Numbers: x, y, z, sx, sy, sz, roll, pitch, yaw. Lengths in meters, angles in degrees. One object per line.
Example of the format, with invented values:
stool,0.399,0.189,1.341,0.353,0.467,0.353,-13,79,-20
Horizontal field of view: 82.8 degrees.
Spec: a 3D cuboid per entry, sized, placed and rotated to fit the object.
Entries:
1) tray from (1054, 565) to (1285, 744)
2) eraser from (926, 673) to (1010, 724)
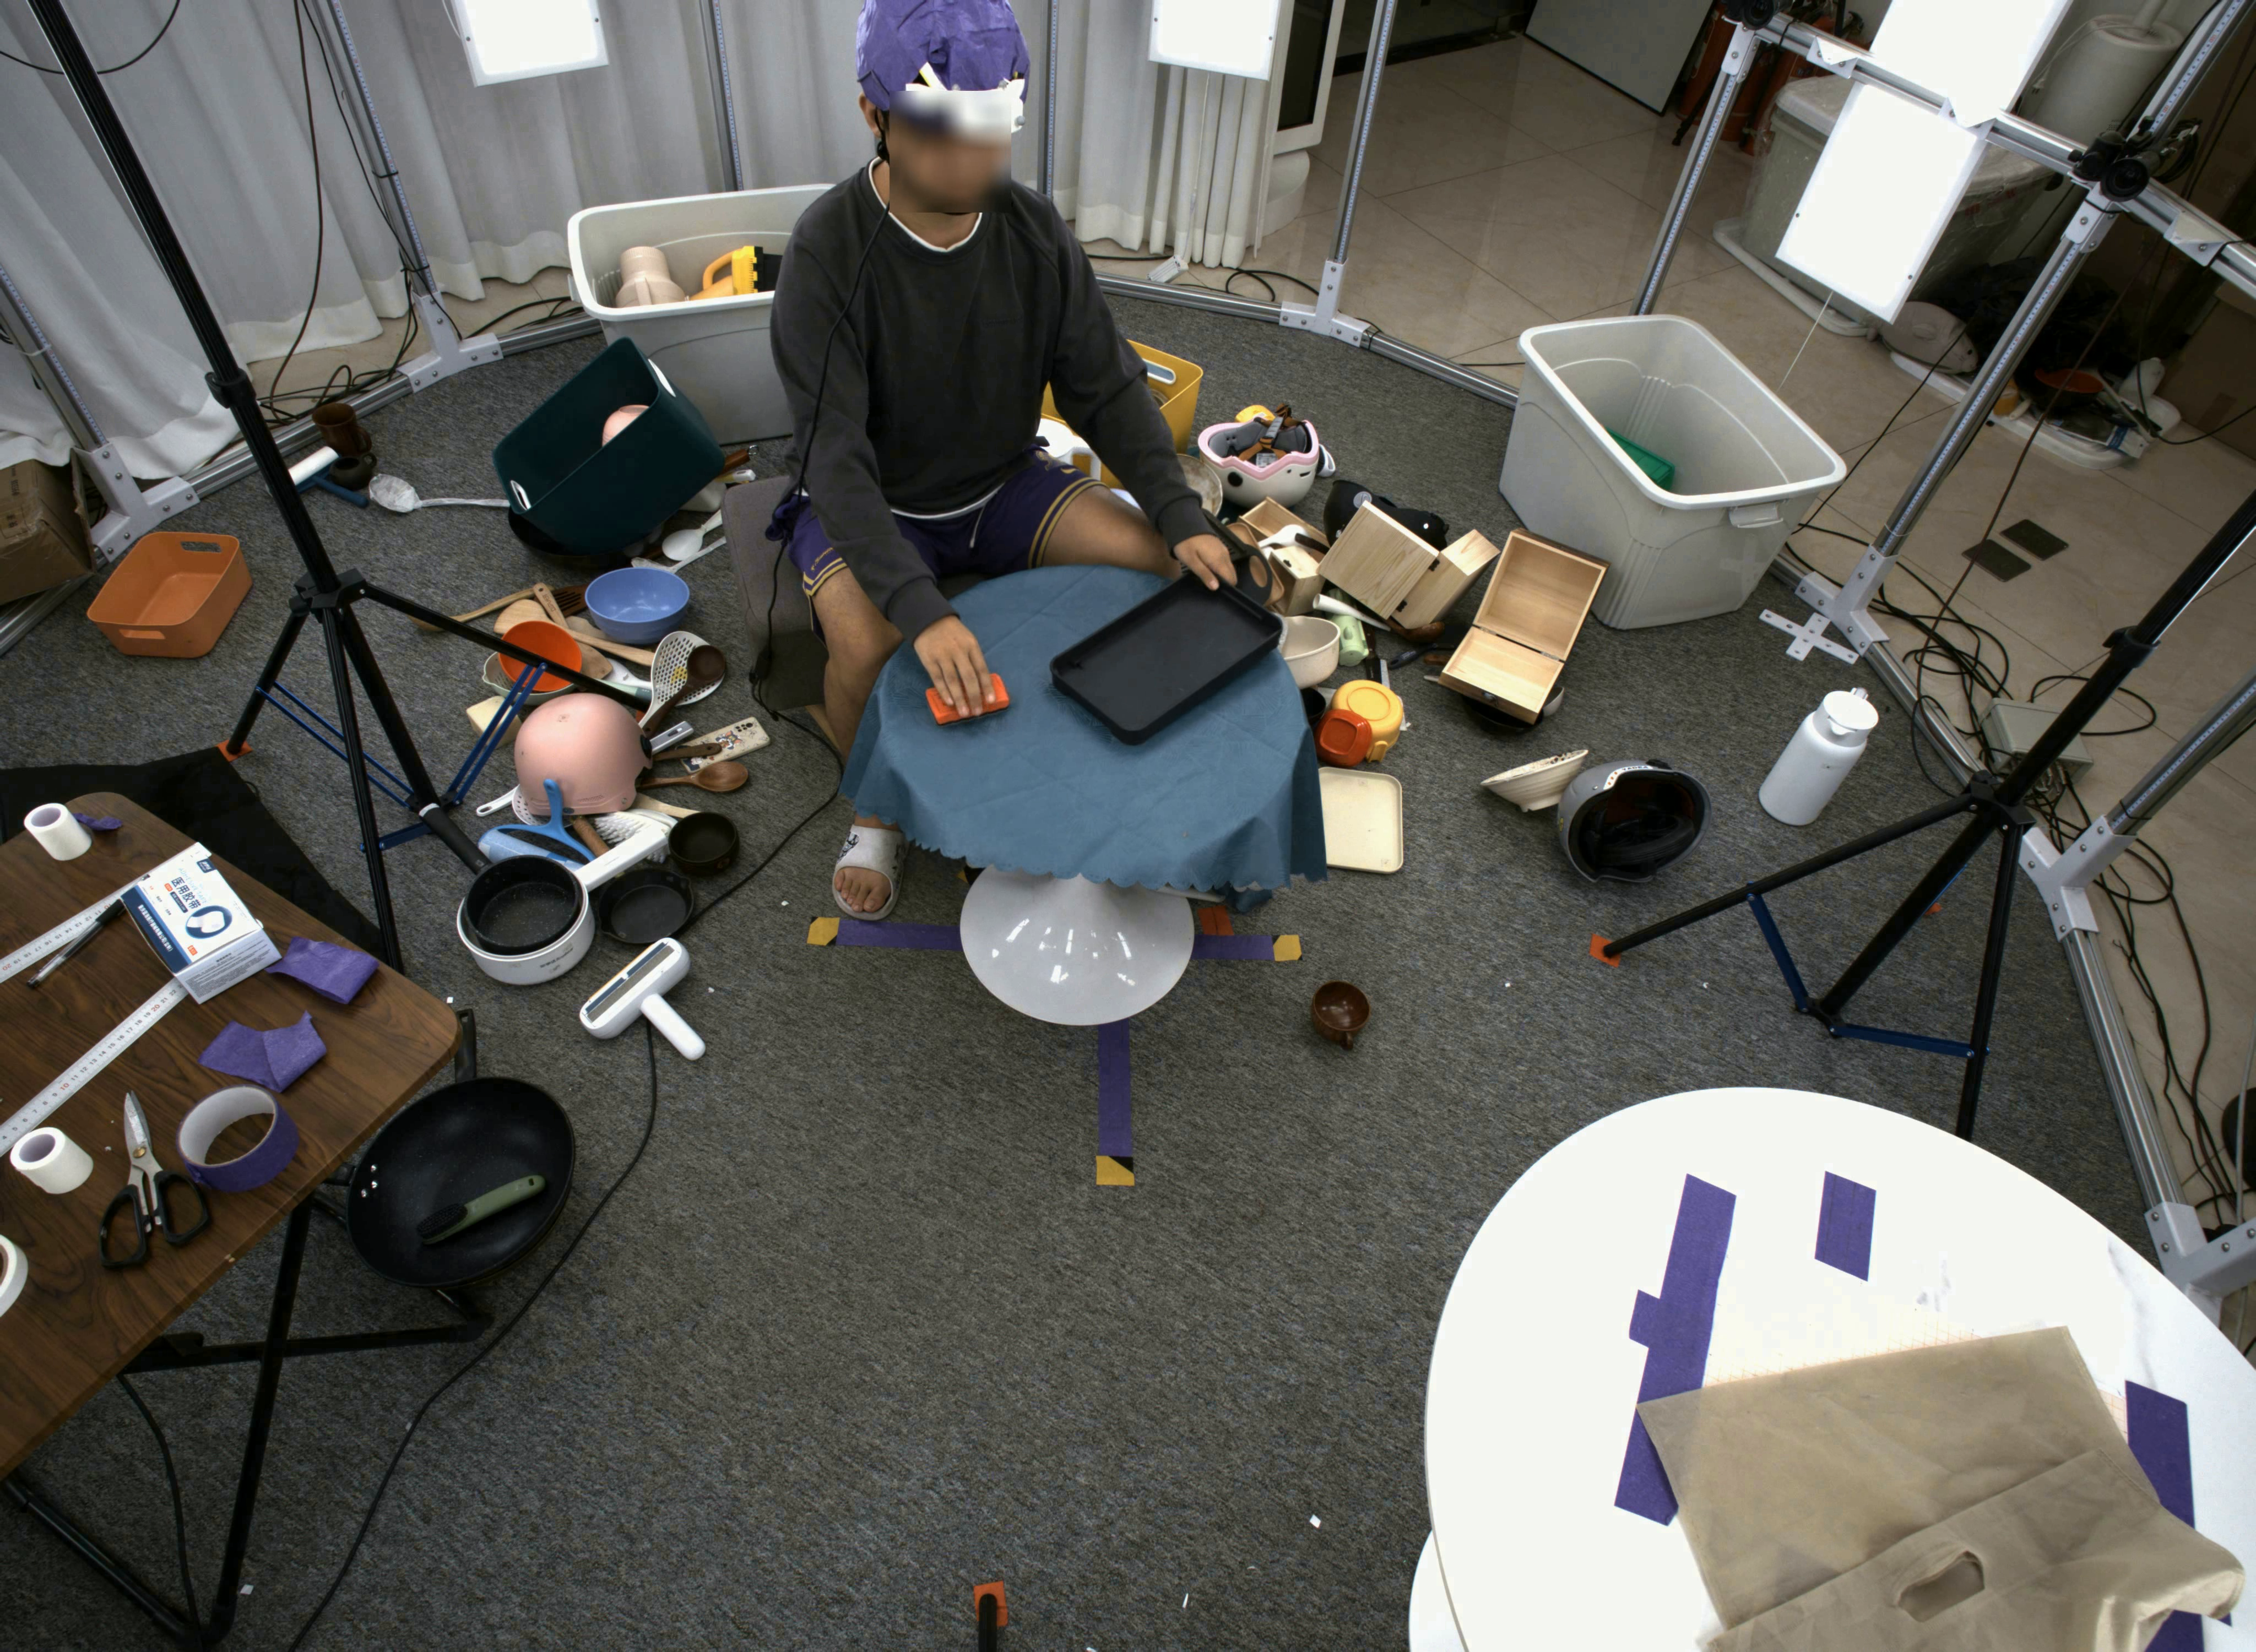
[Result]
tray,0.062,-0.254,1.856,0.321,0.036,0.187,-38,60,-26
eraser,-0.222,-0.178,1.787,0.108,0.022,0.060,-17,44,-16
